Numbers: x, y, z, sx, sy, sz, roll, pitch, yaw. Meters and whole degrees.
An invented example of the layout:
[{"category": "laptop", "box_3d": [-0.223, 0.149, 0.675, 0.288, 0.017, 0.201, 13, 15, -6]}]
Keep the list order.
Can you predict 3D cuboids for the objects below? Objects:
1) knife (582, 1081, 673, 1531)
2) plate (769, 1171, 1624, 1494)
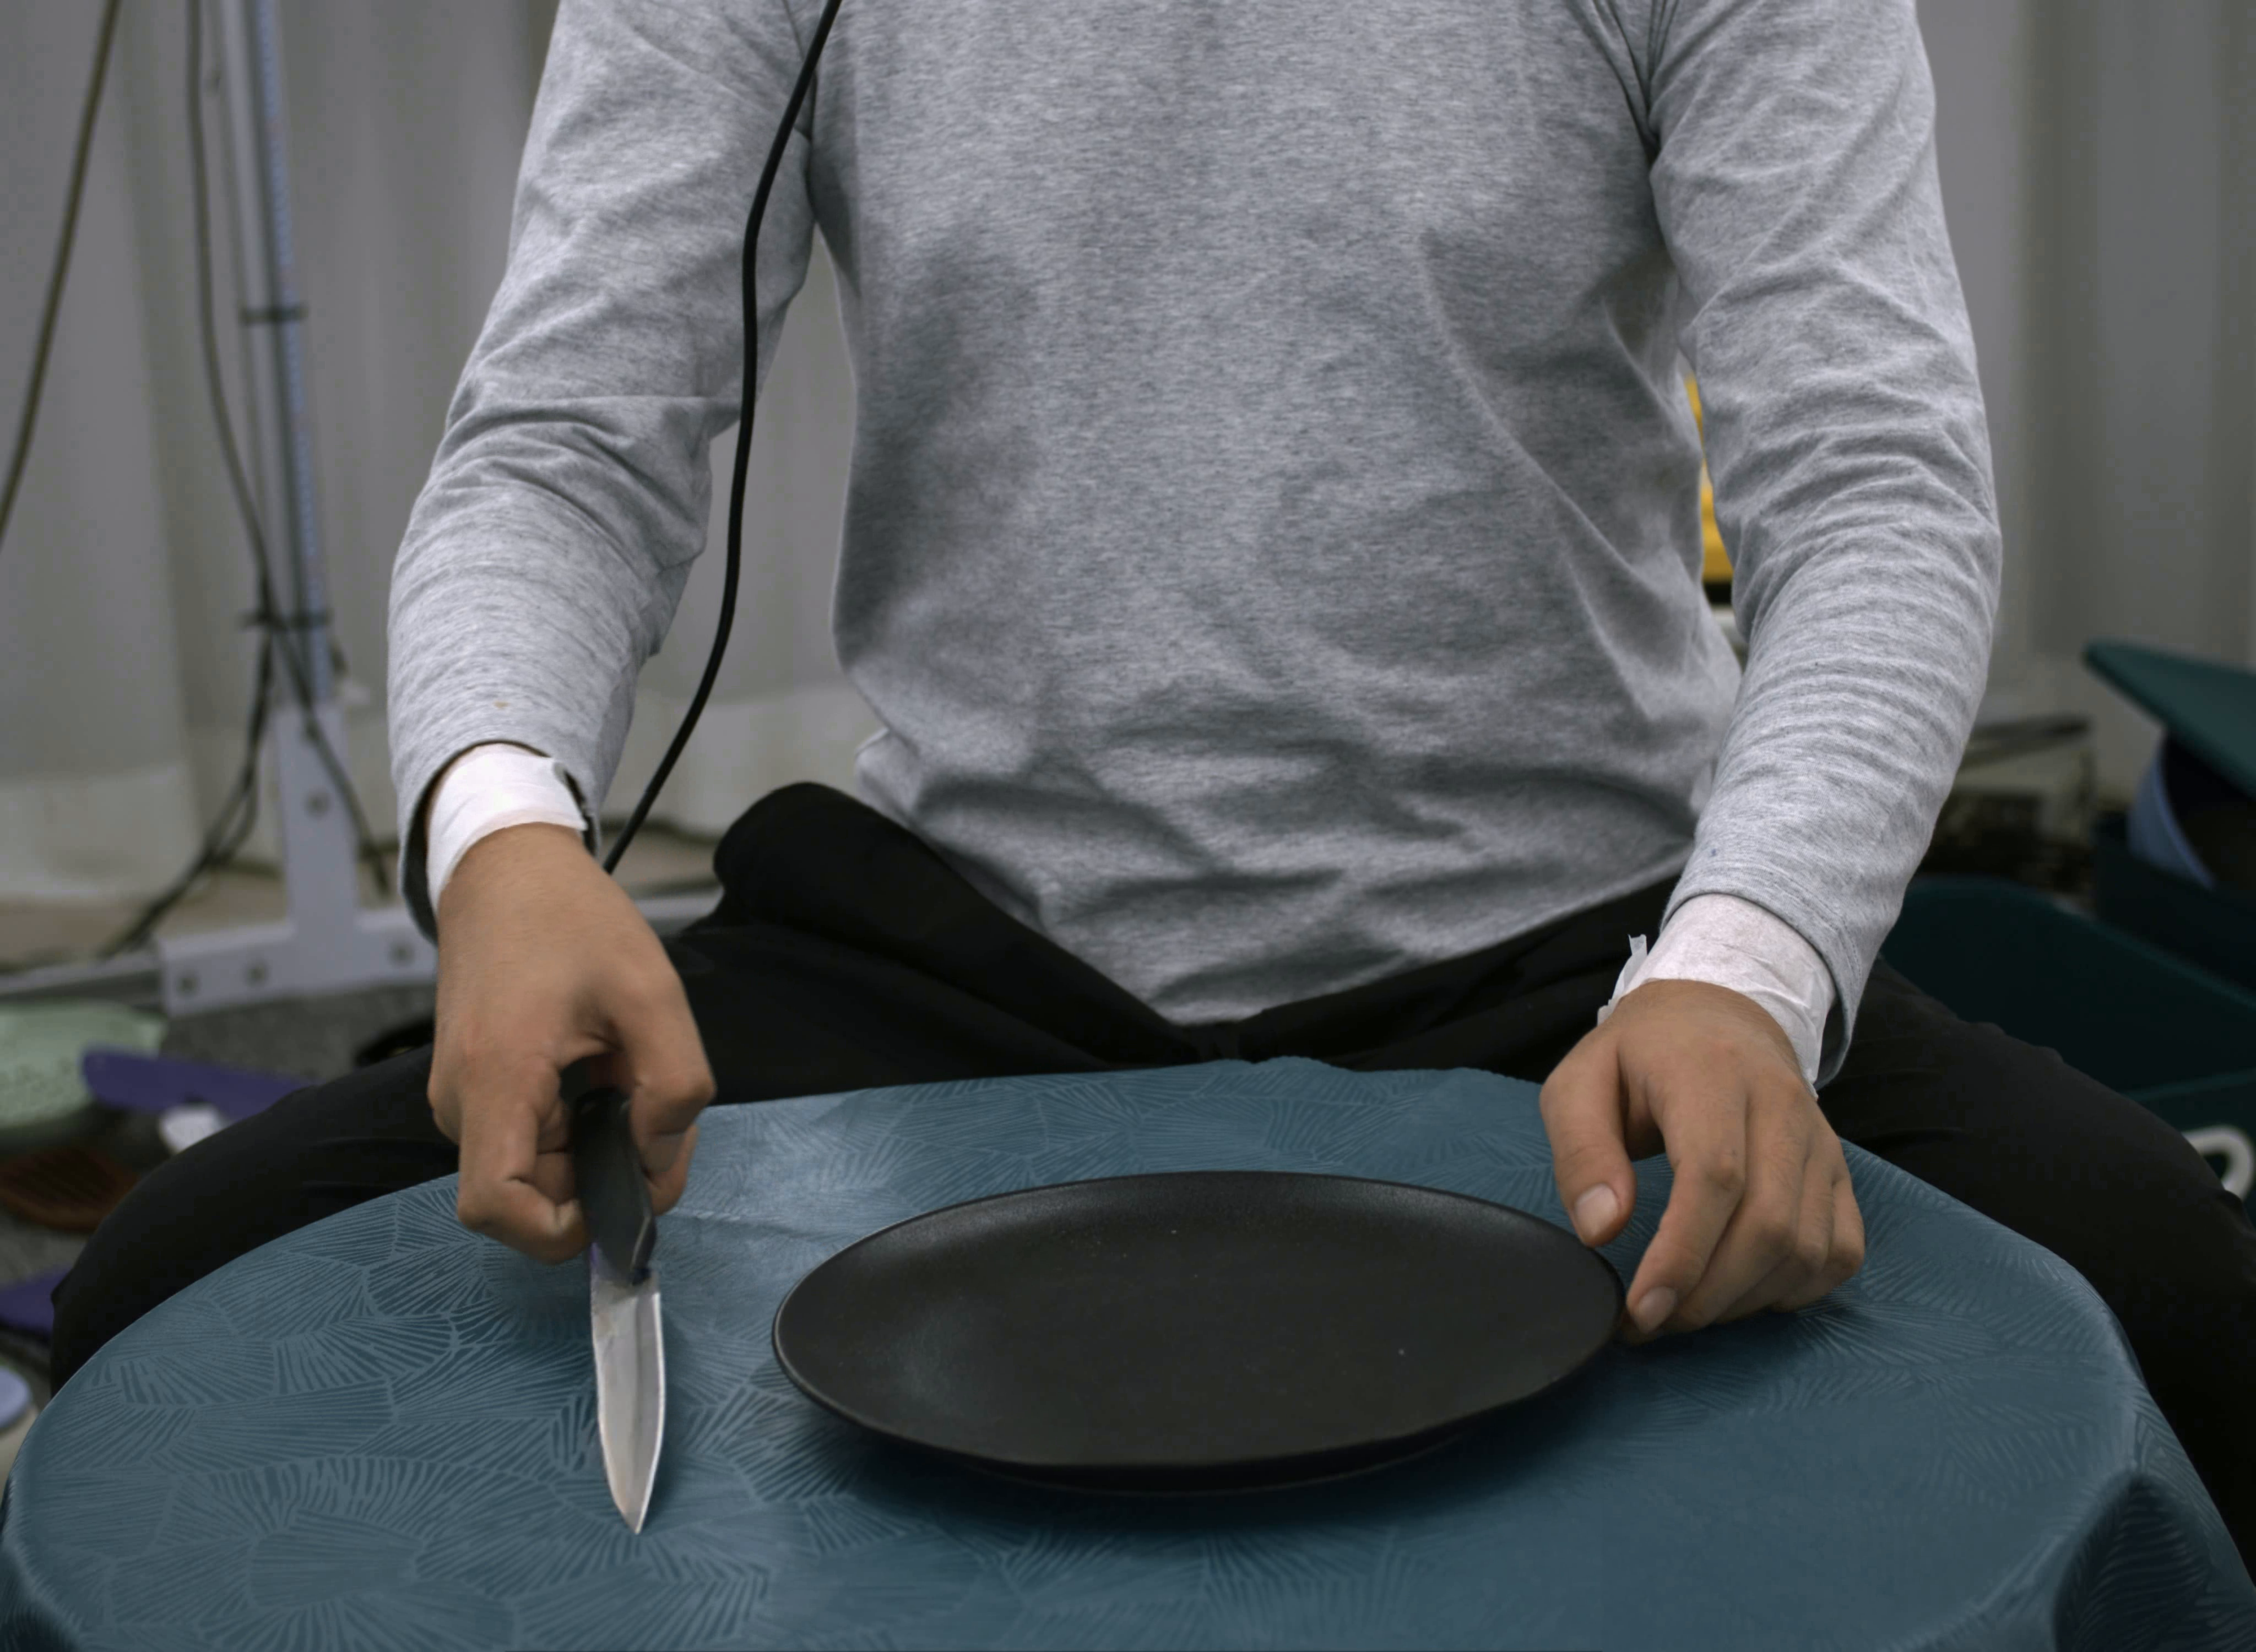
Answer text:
[{"category": "knife", "box_3d": [-0.144, 0.137, 1.566, 0.024, 0.016, 0.241, -24, 26, 5]}, {"category": "plate", "box_3d": [0.020, 0.146, 1.552, 0.243, 0.023, 0.246, -3, 15, 0]}]
